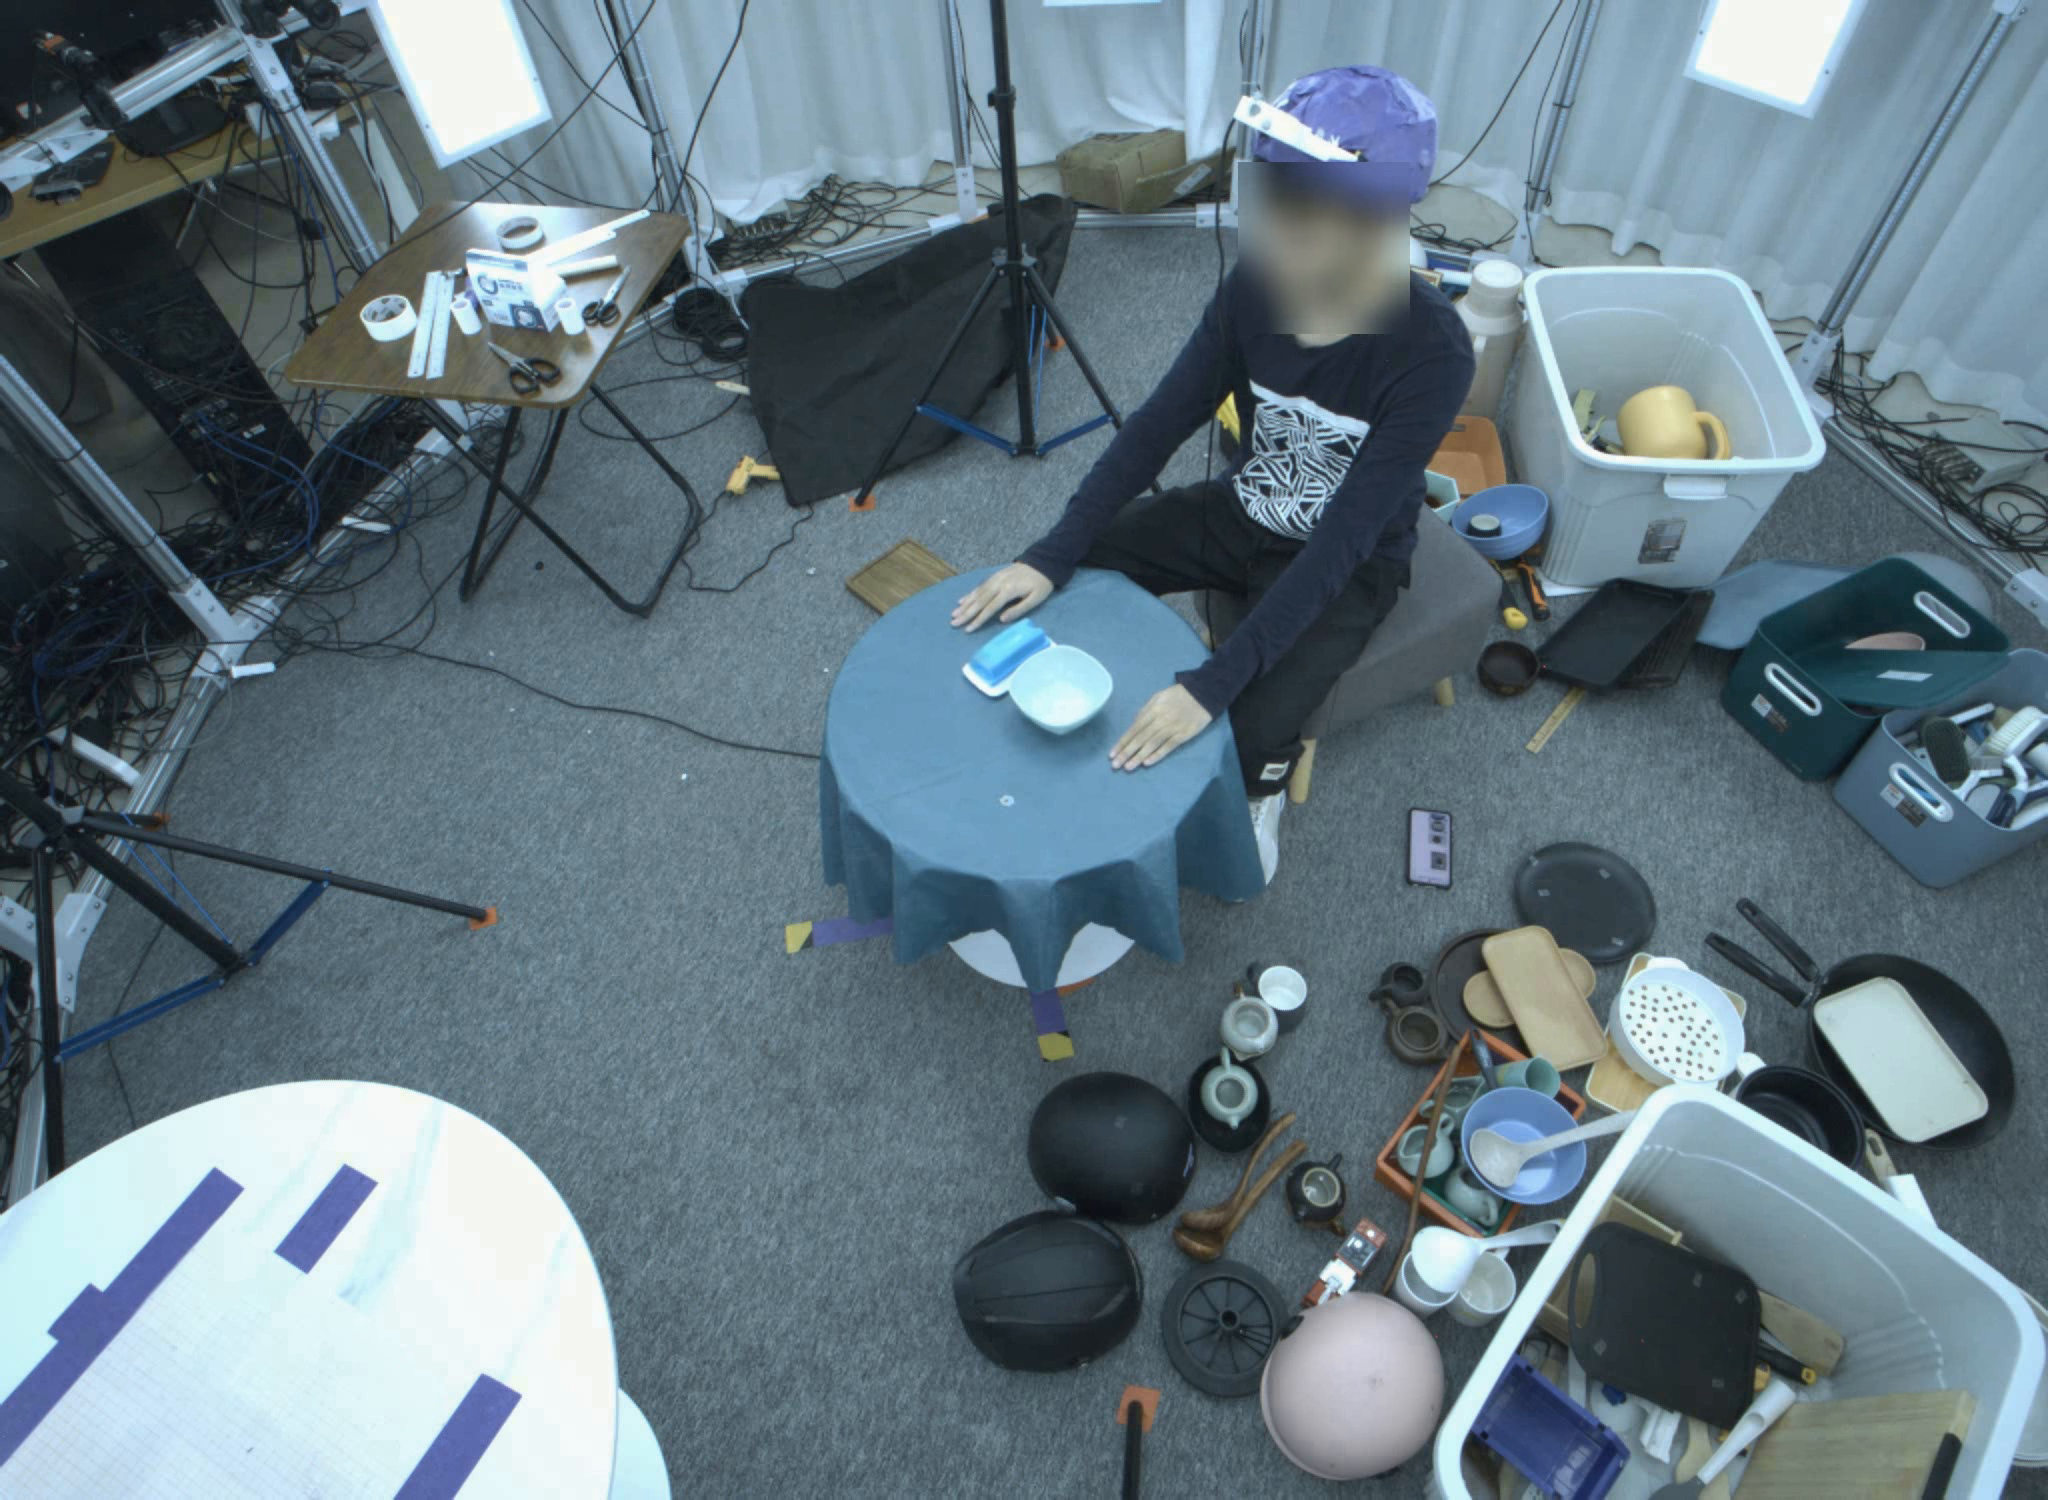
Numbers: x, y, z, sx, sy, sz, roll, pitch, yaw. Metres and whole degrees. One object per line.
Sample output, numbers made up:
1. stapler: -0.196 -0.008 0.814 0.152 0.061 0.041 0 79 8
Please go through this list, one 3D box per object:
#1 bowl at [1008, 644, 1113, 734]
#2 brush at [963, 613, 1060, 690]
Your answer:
1. bowl: 0.053 -0.079 1.801 0.151 0.059 0.150 0 56 1
2. brush: -0.019 -0.157 1.855 0.145 0.056 0.082 -37 64 -19
